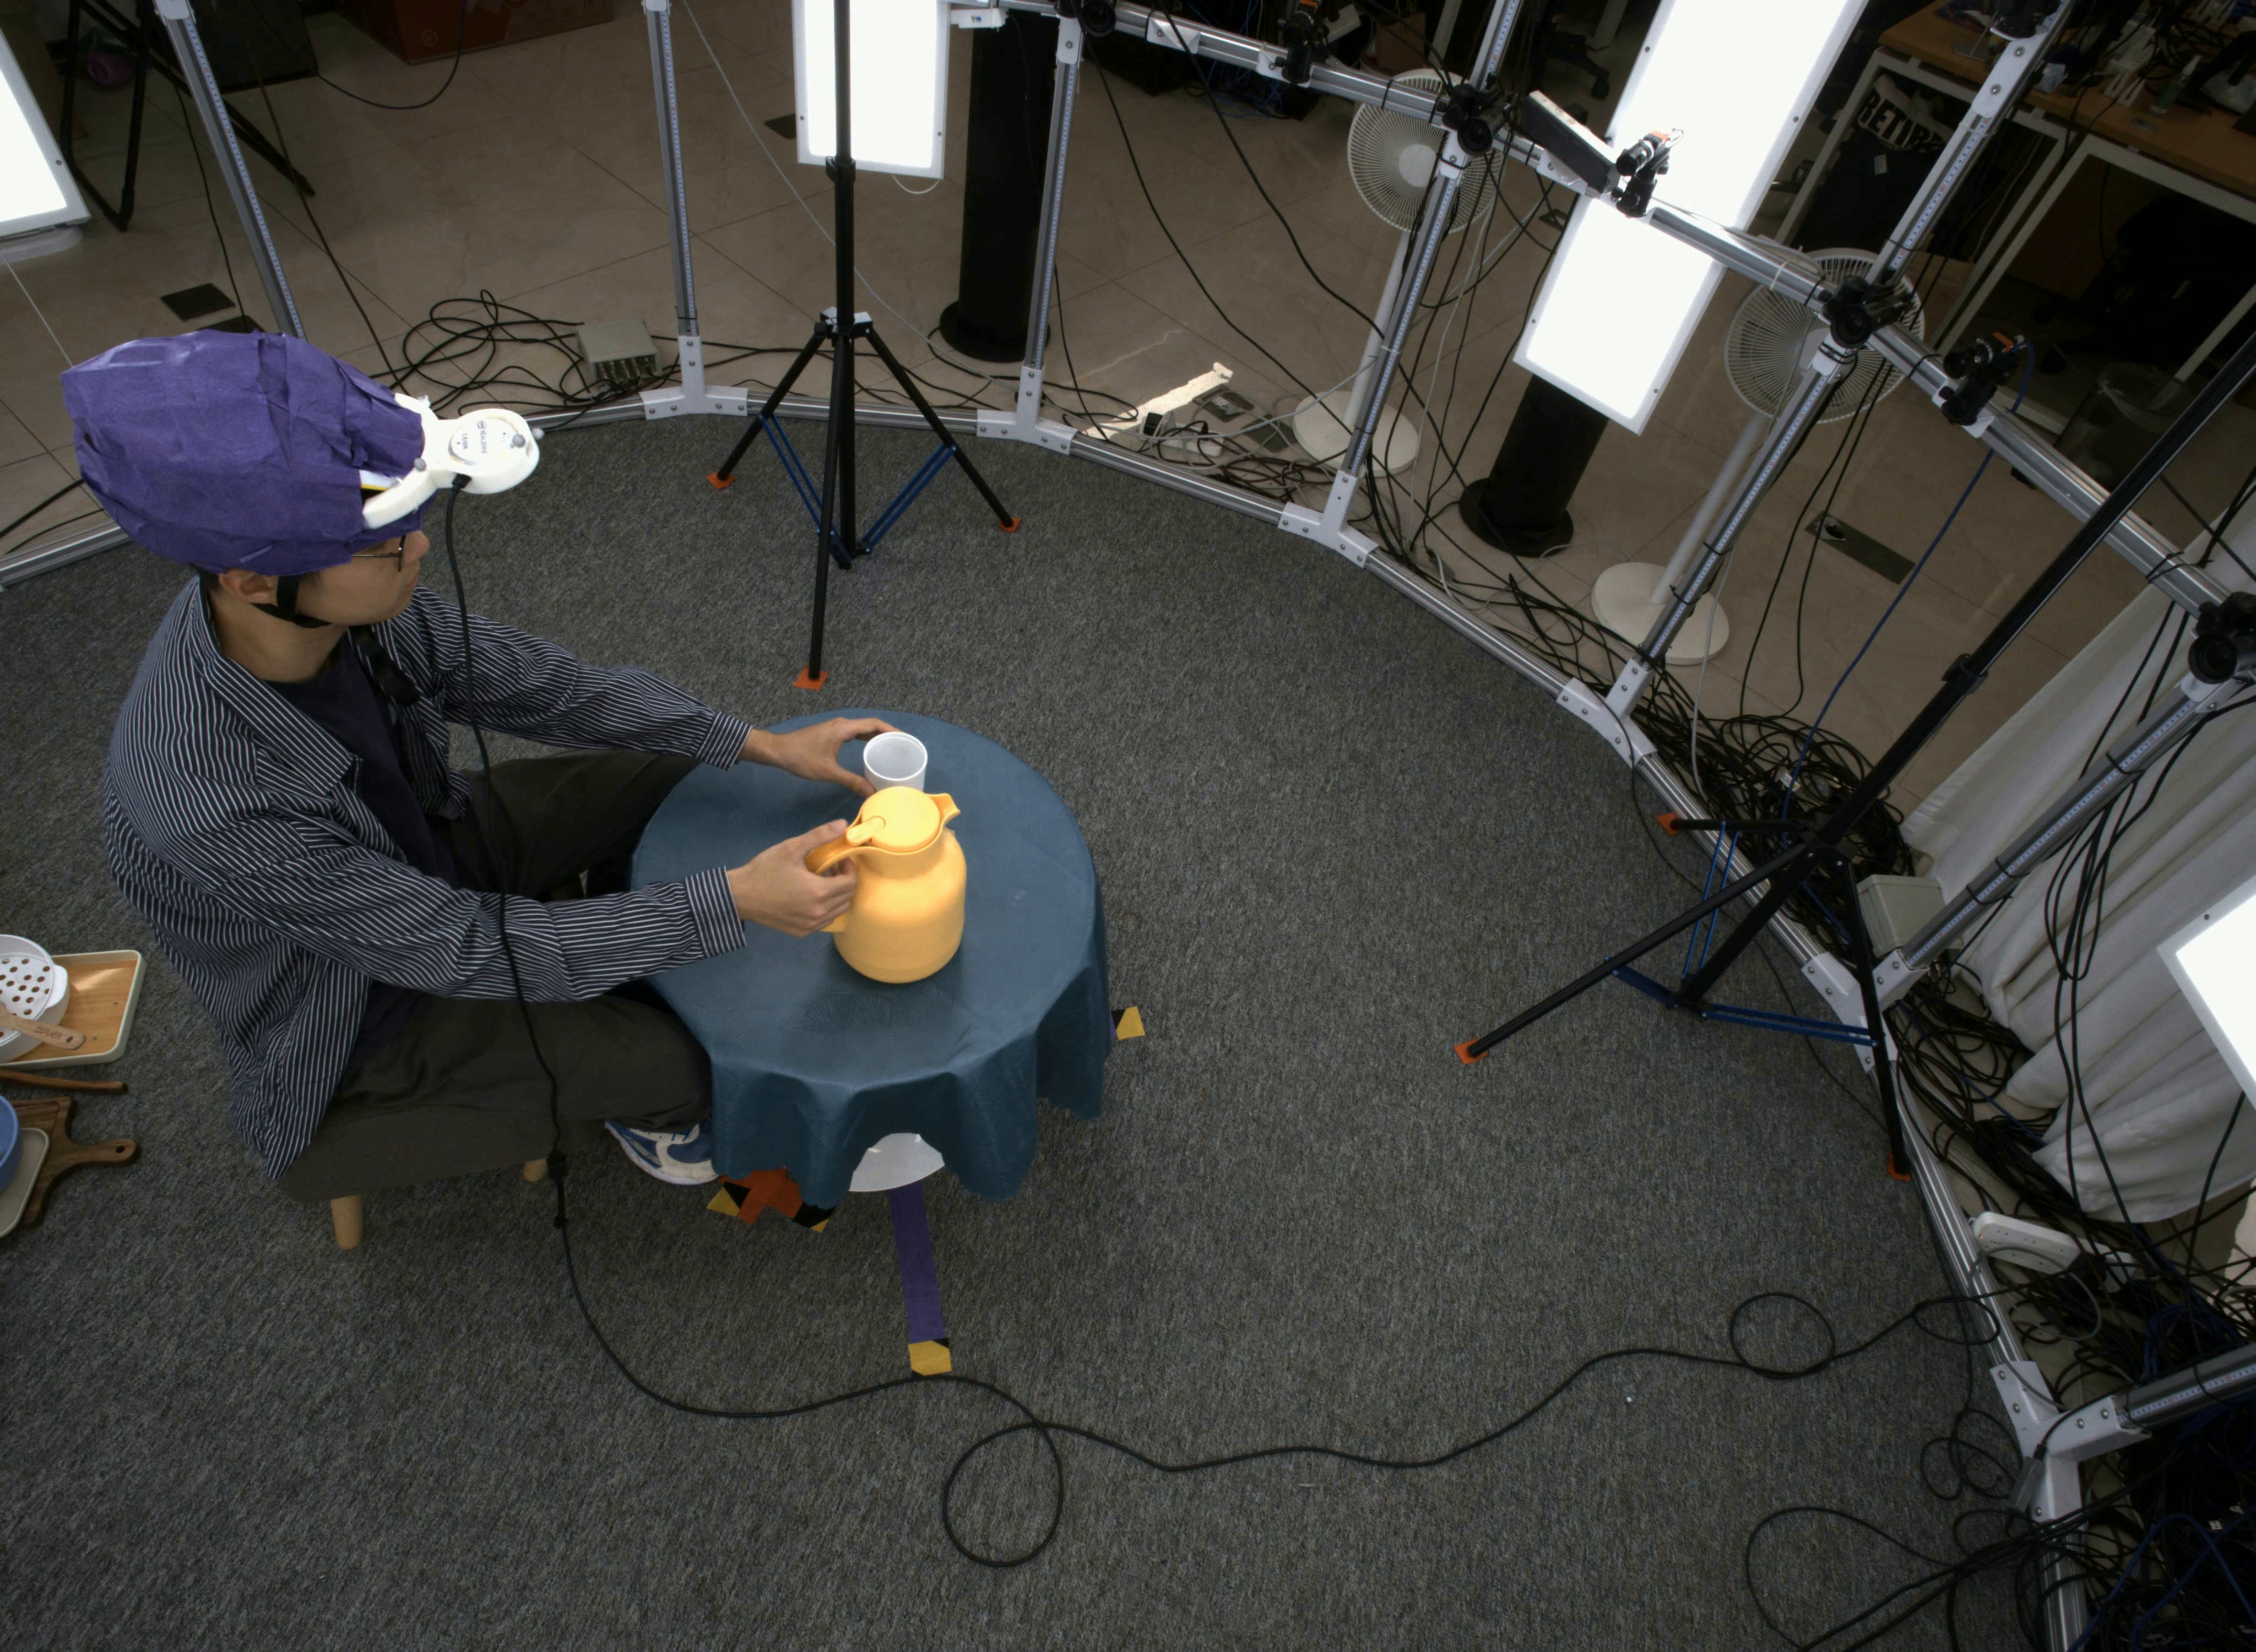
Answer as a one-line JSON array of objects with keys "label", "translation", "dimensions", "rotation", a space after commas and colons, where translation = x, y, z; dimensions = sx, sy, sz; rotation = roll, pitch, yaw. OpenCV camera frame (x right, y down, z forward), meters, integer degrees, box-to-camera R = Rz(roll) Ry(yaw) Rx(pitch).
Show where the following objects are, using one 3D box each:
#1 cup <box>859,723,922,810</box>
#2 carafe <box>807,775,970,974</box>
[{"label": "cup", "translation": [-0.316, -0.065, 1.731], "dimensions": [0.081, 0.128, 0.080], "rotation": [6, 53, -7]}, {"label": "carafe", "translation": [-0.288, 0.058, 1.563], "dimensions": [0.203, 0.266, 0.159], "rotation": [-25, 60, -27]}]
